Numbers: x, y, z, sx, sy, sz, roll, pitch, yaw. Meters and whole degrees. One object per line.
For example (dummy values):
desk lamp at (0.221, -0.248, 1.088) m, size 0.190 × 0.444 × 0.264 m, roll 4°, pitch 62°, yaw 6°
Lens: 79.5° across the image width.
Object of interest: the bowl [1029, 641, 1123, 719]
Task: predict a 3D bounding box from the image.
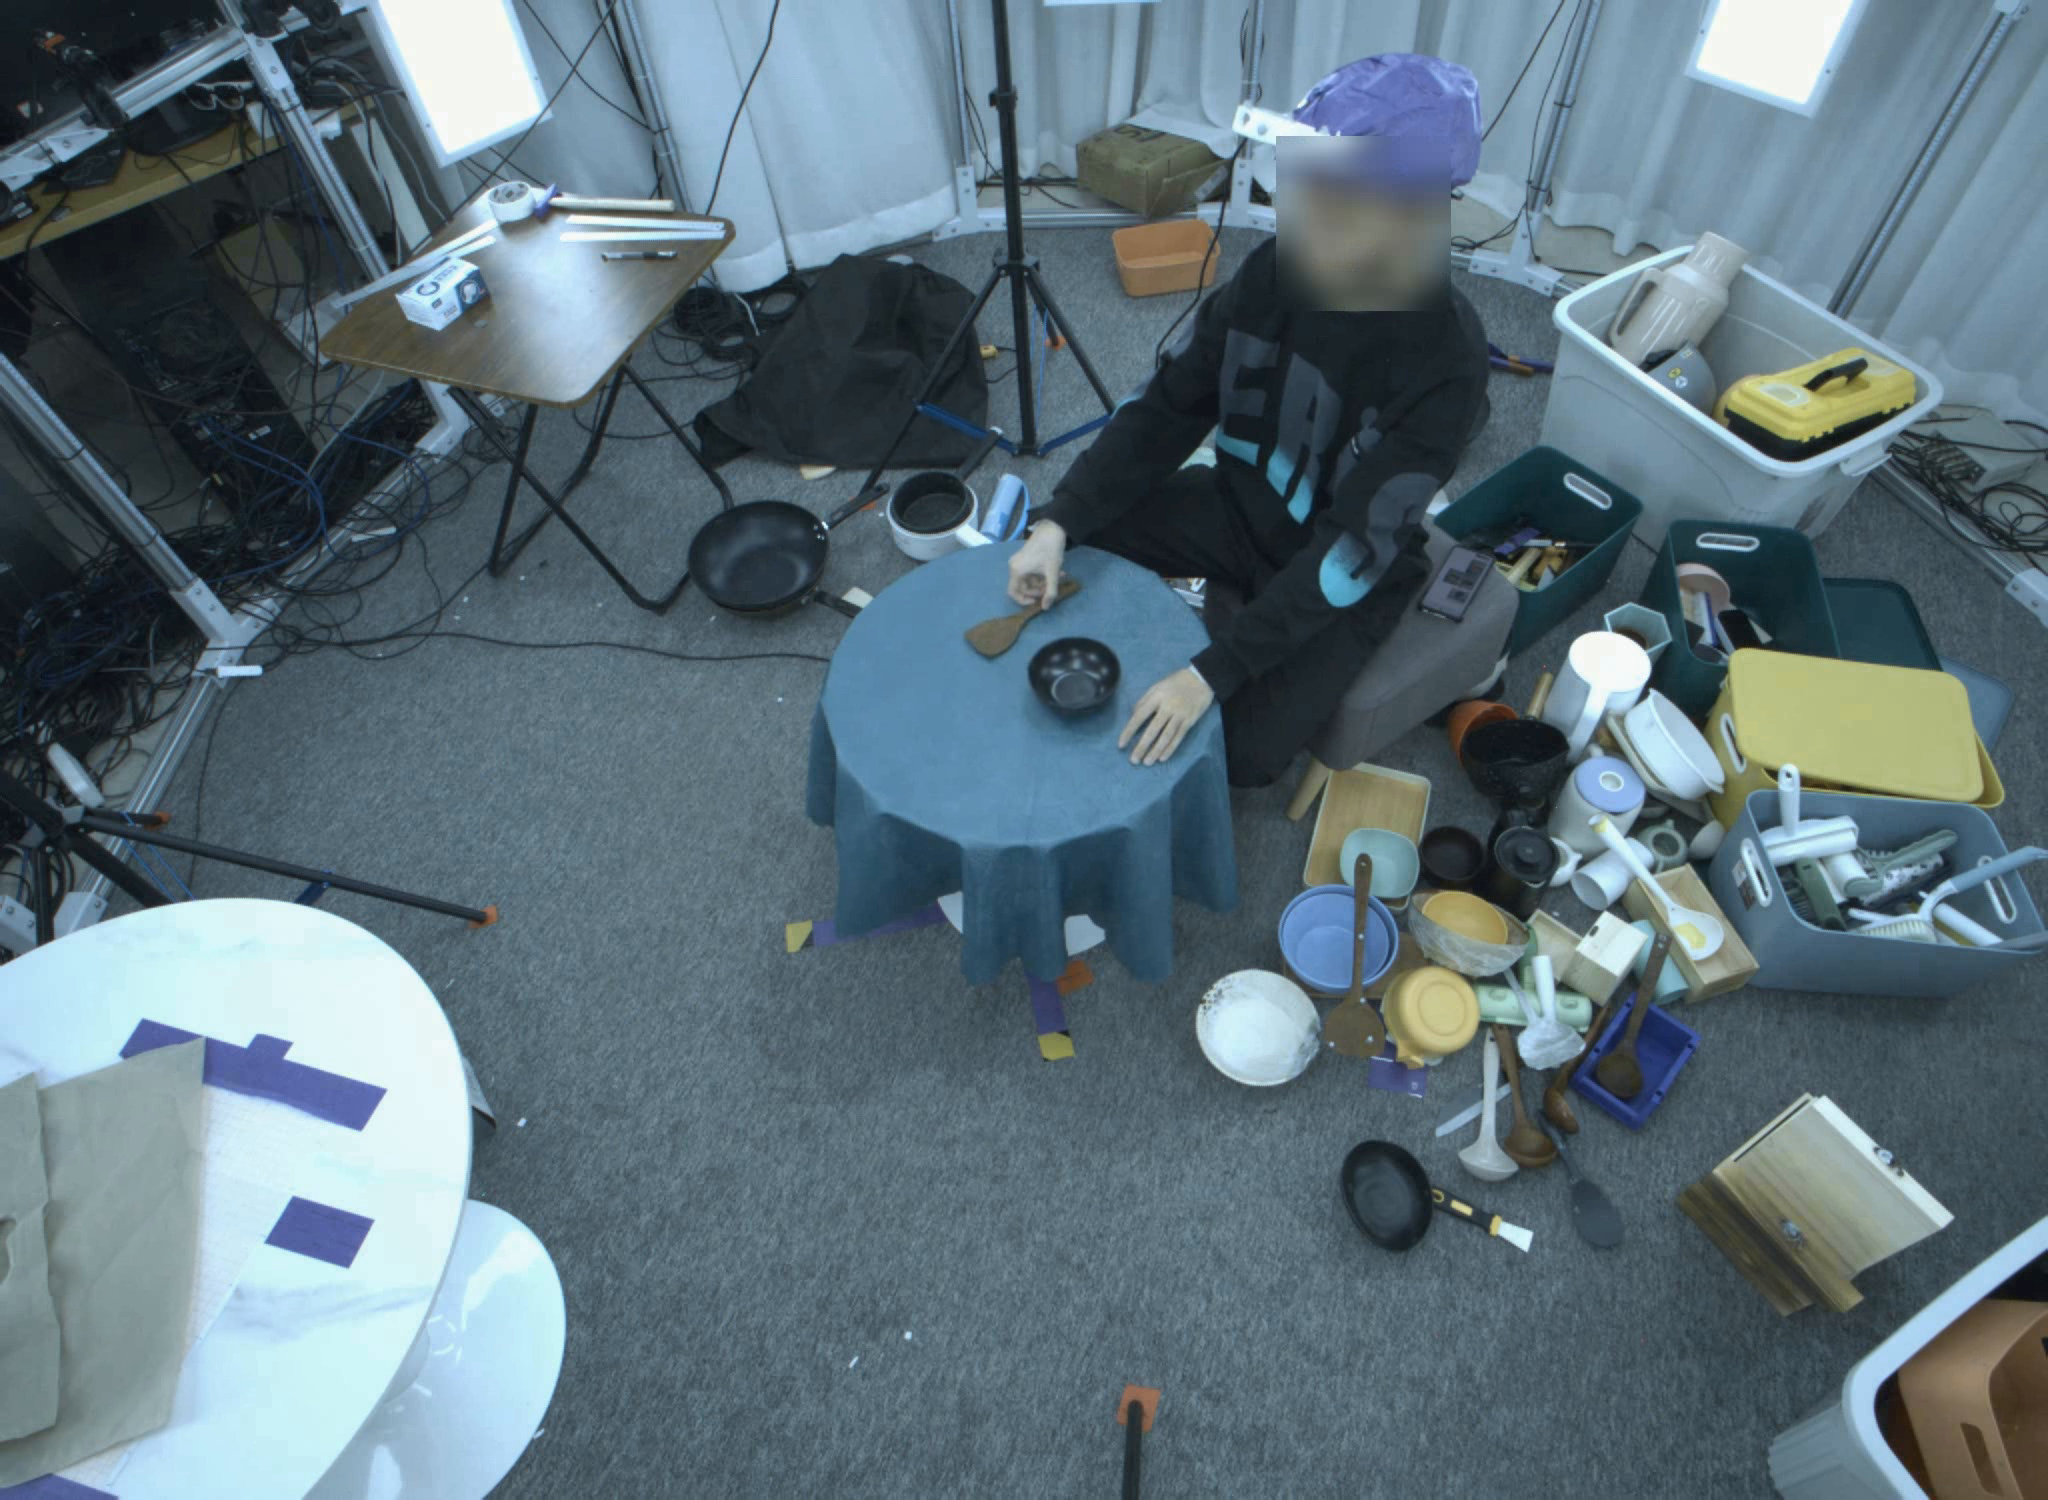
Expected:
bowl at (0.079, -0.096, 1.833) m, size 0.140 × 0.050 × 0.138 m, roll -1°, pitch 52°, yaw 3°

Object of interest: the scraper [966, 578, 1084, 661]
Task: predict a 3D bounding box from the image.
scraper at (0.008, -0.211, 1.936) m, size 0.212 × 0.011 × 0.074 m, roll -35°, pitch 61°, yaw -17°
